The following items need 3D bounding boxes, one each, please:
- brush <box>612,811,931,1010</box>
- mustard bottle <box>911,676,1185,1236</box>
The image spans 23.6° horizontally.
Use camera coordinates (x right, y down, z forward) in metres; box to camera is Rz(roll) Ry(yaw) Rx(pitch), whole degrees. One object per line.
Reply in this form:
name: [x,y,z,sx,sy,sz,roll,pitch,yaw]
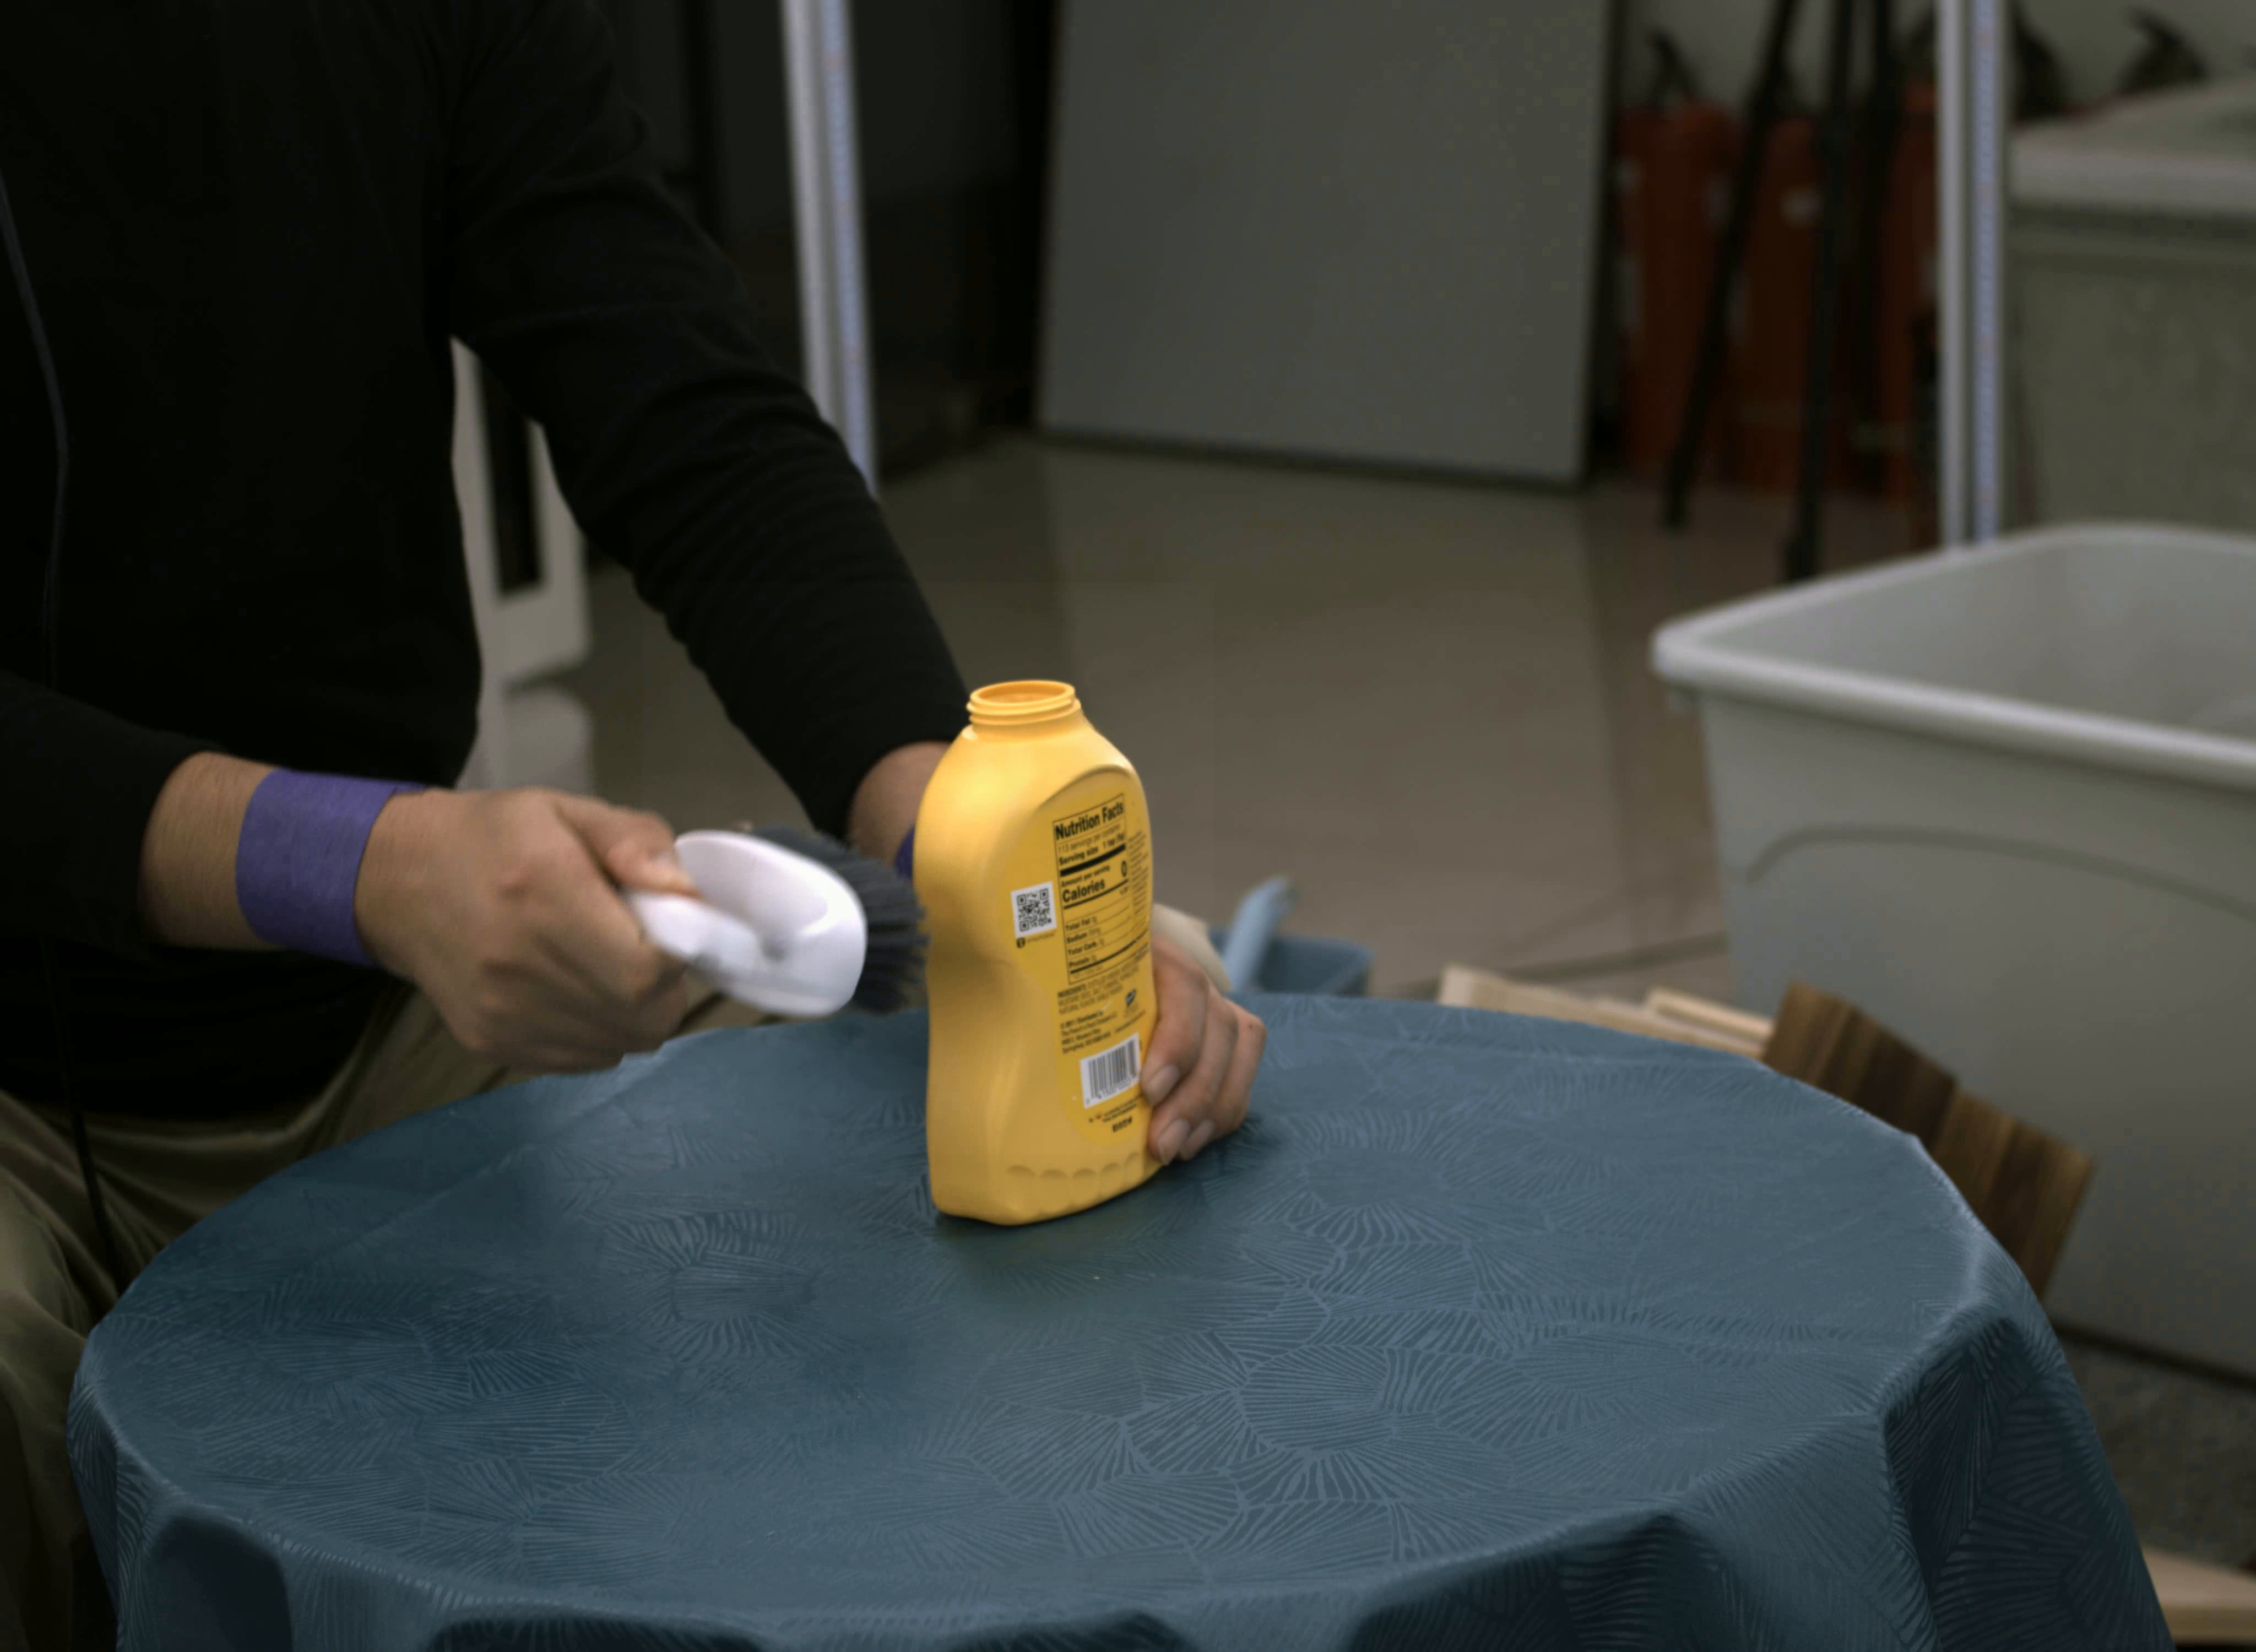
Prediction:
brush: [-0.118,0.025,1.684,0.071,0.051,0.100,3,14,-44]
mustard bottle: [-0.028,0.040,1.754,0.060,0.174,0.096,1,14,36]
